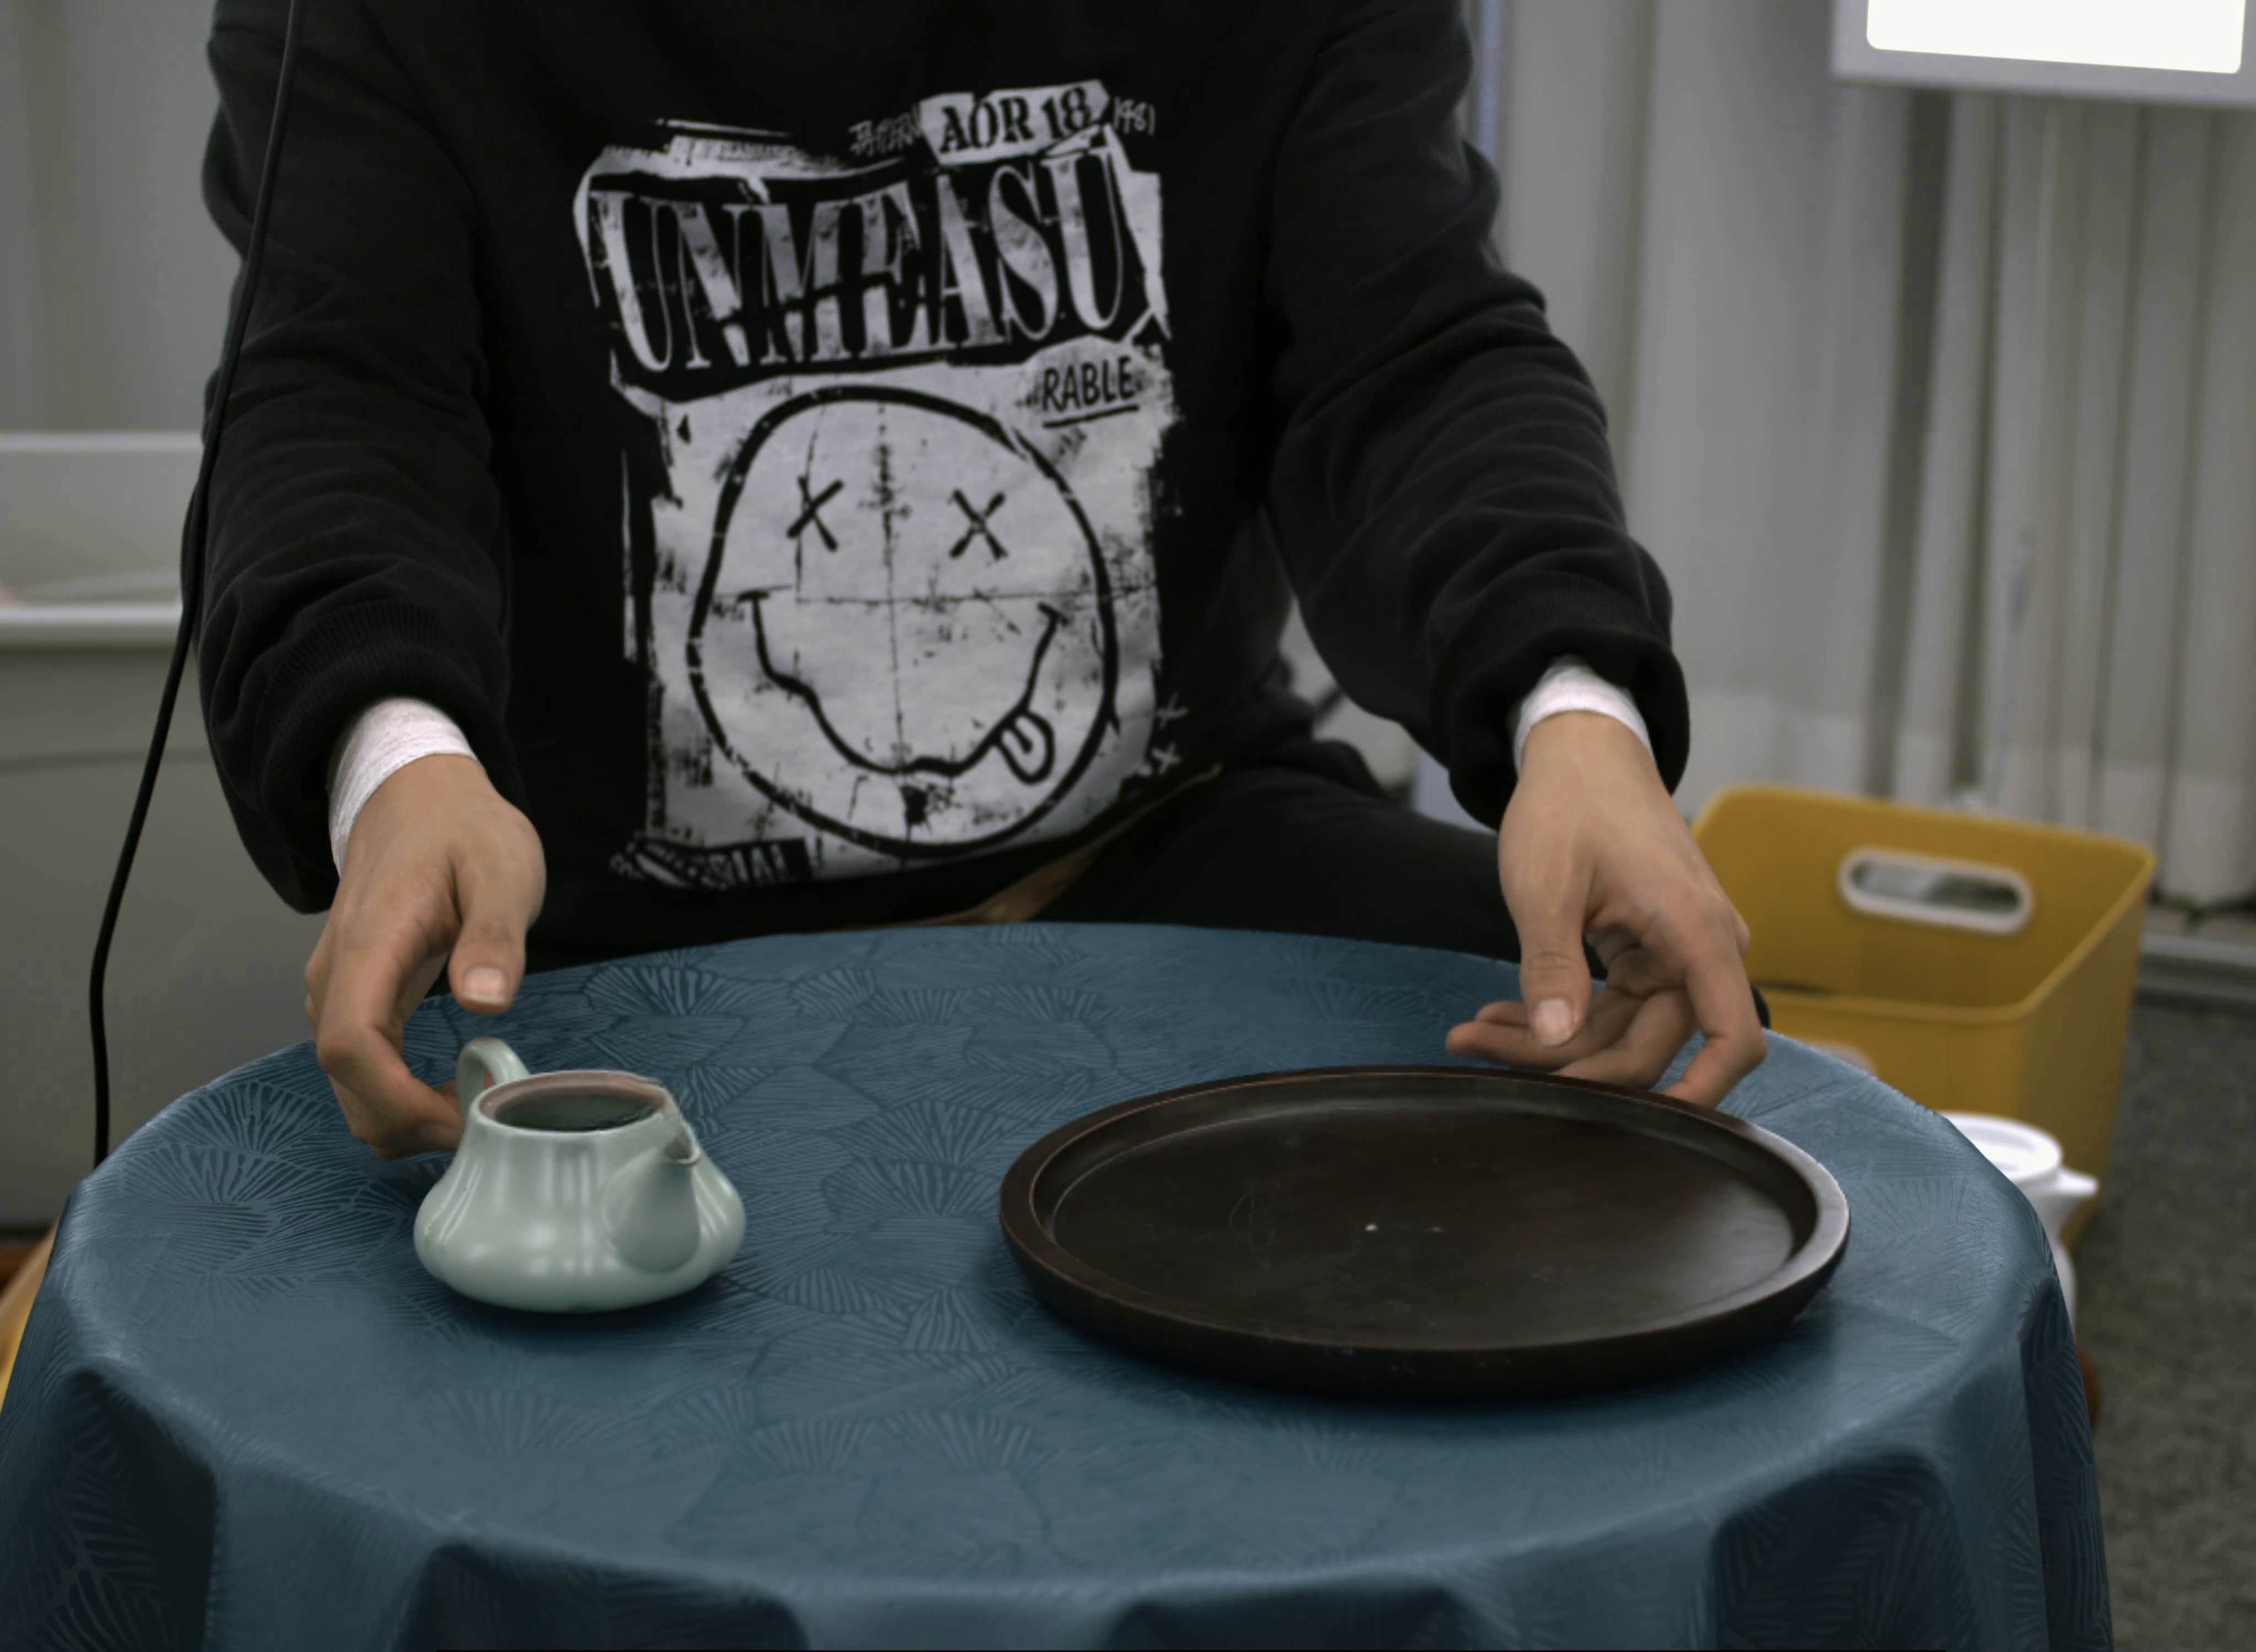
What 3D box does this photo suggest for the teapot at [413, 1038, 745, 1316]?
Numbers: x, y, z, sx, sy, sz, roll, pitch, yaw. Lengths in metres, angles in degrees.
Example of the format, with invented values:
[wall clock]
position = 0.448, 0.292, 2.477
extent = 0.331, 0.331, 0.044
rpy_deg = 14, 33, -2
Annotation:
[teapot]
position = -0.163, 0.104, 1.535
extent = 0.096, 0.062, 0.135
rpy_deg = -13, 21, -36

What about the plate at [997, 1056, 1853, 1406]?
[plate]
position = 0.087, 0.118, 1.558
extent = 0.254, 0.029, 0.253
rpy_deg = 0, 16, 1
